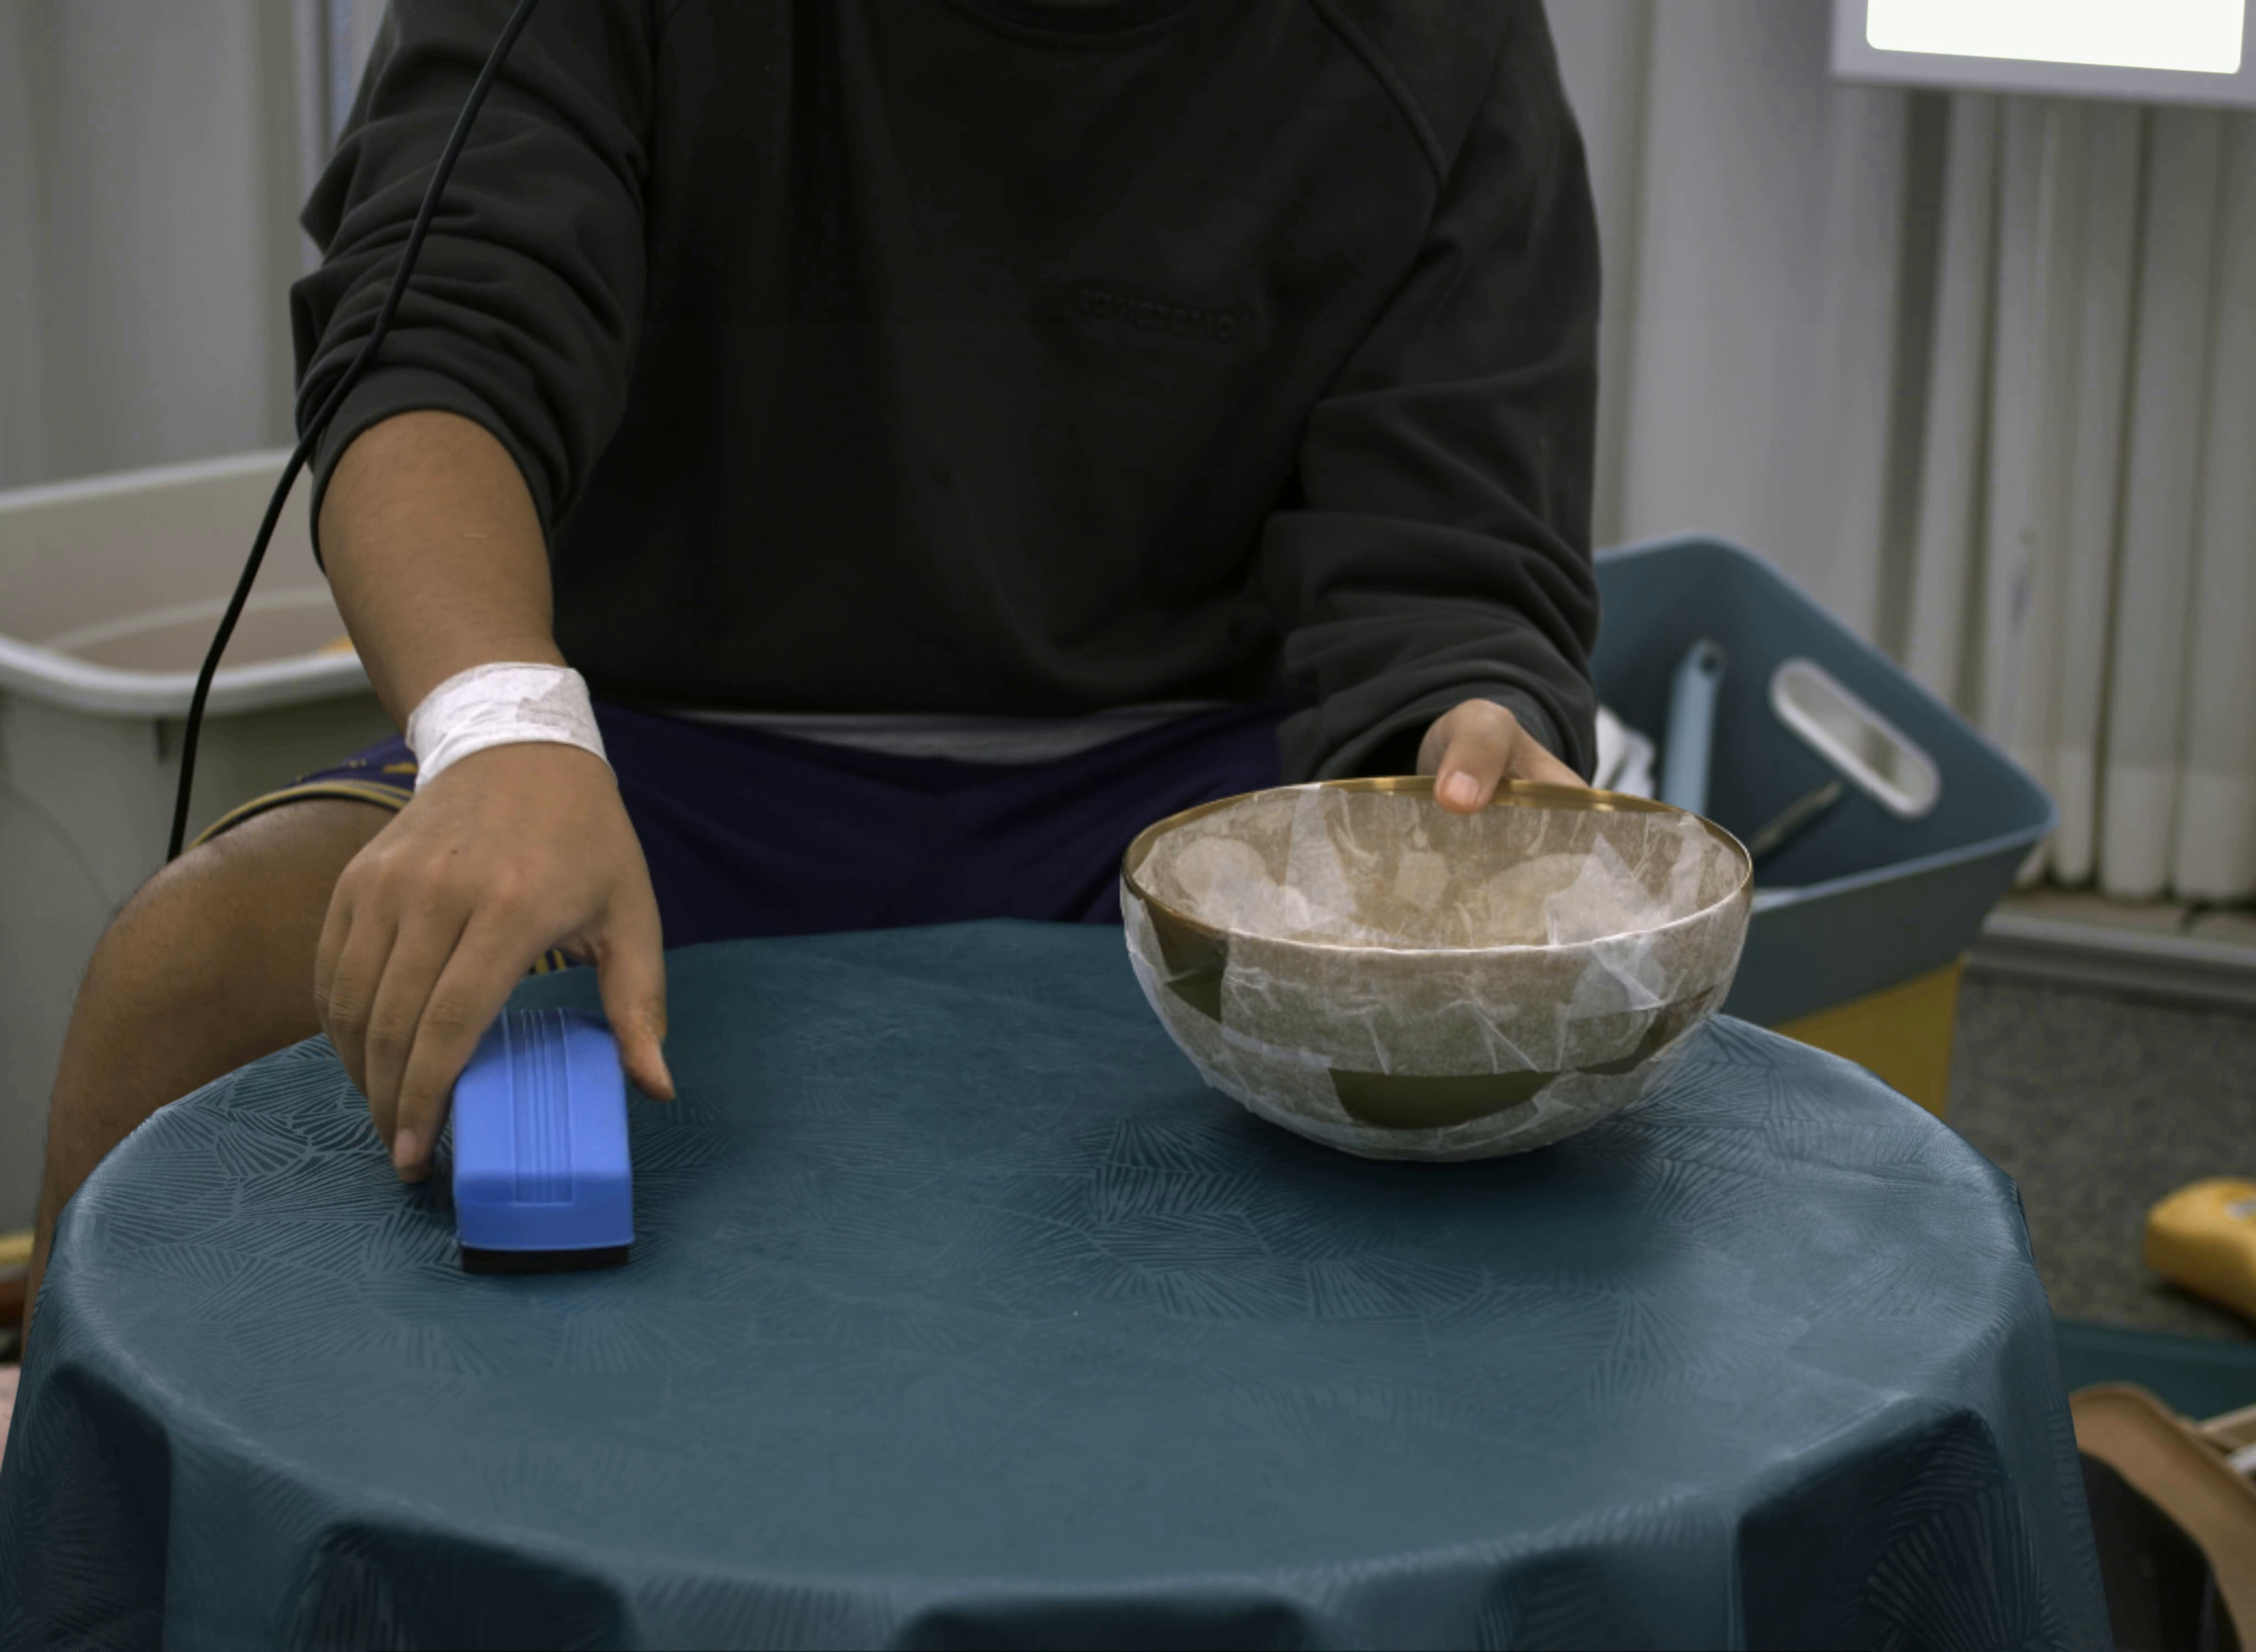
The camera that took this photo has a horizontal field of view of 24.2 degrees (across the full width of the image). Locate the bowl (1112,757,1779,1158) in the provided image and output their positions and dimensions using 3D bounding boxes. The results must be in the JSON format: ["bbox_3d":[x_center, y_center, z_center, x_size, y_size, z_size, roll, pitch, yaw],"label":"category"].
[{"bbox_3d":[0.099,0.050,1.672,0.214,0.095,0.213,-1,17,1],"label":"bowl"}]

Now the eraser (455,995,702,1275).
[{"bbox_3d":[-0.167,0.088,1.610,0.053,0.048,0.161,-4,17,4],"label":"eraser"}]
